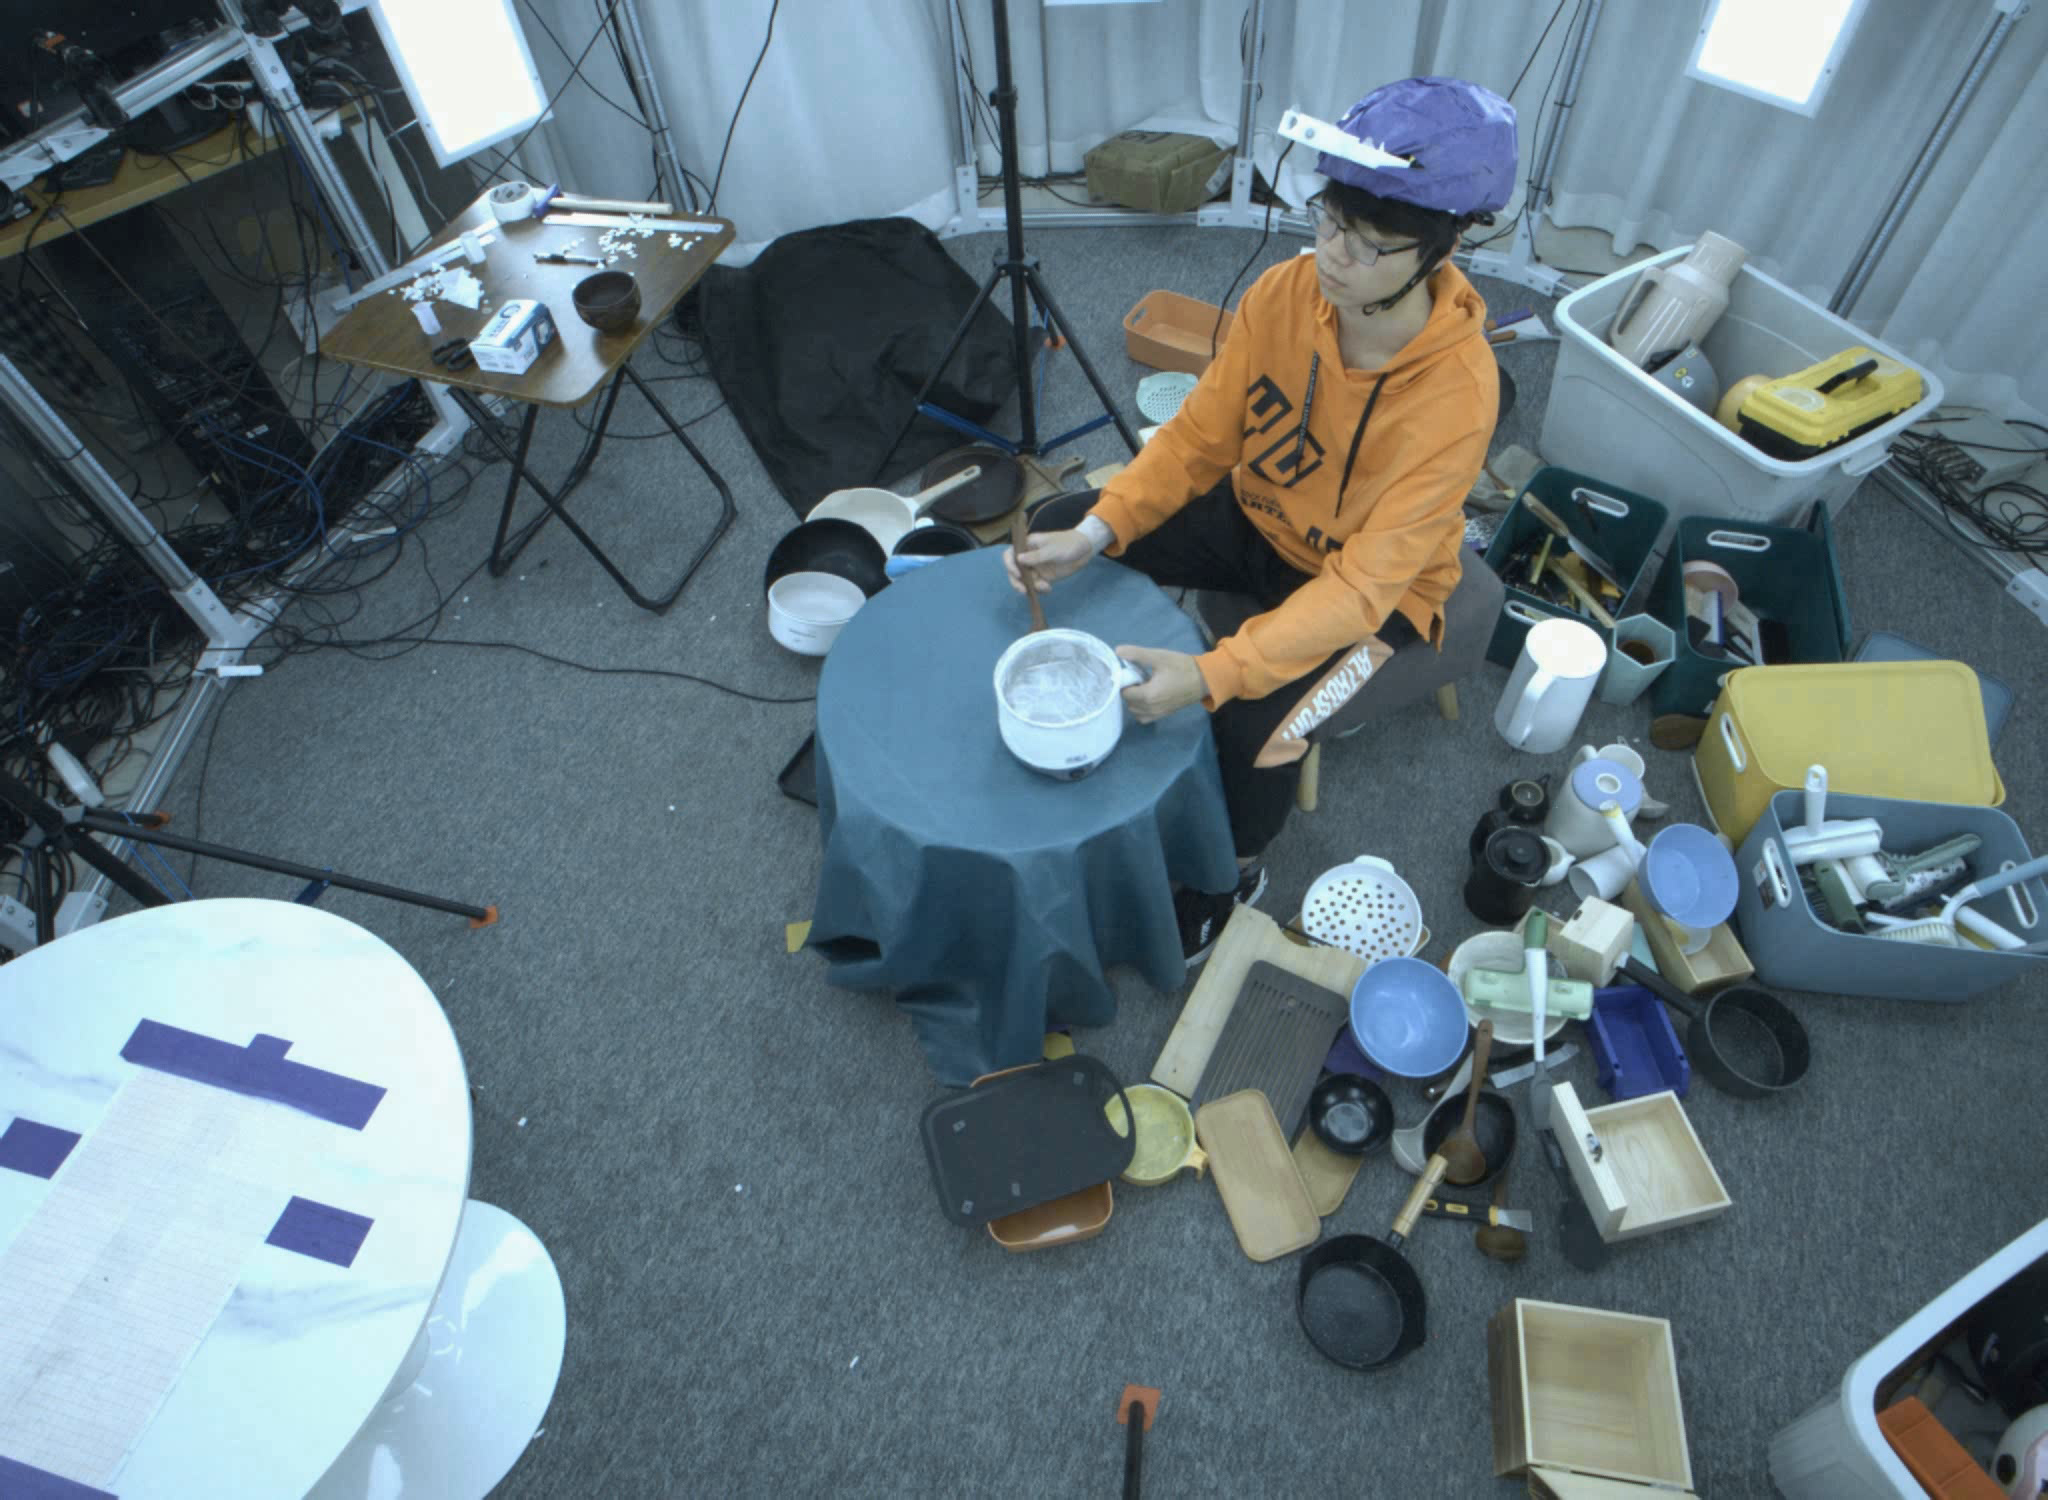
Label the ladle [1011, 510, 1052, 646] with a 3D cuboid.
[{"bbox_3d":[-0.002,-0.244,1.864,0.075,0.066,0.259,-14,83,36],"label":"ladle"}]

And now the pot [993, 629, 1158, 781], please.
[{"bbox_3d":[0.077,-0.070,1.749,0.235,0.138,0.176,-15,56,-7],"label":"pot"}]
